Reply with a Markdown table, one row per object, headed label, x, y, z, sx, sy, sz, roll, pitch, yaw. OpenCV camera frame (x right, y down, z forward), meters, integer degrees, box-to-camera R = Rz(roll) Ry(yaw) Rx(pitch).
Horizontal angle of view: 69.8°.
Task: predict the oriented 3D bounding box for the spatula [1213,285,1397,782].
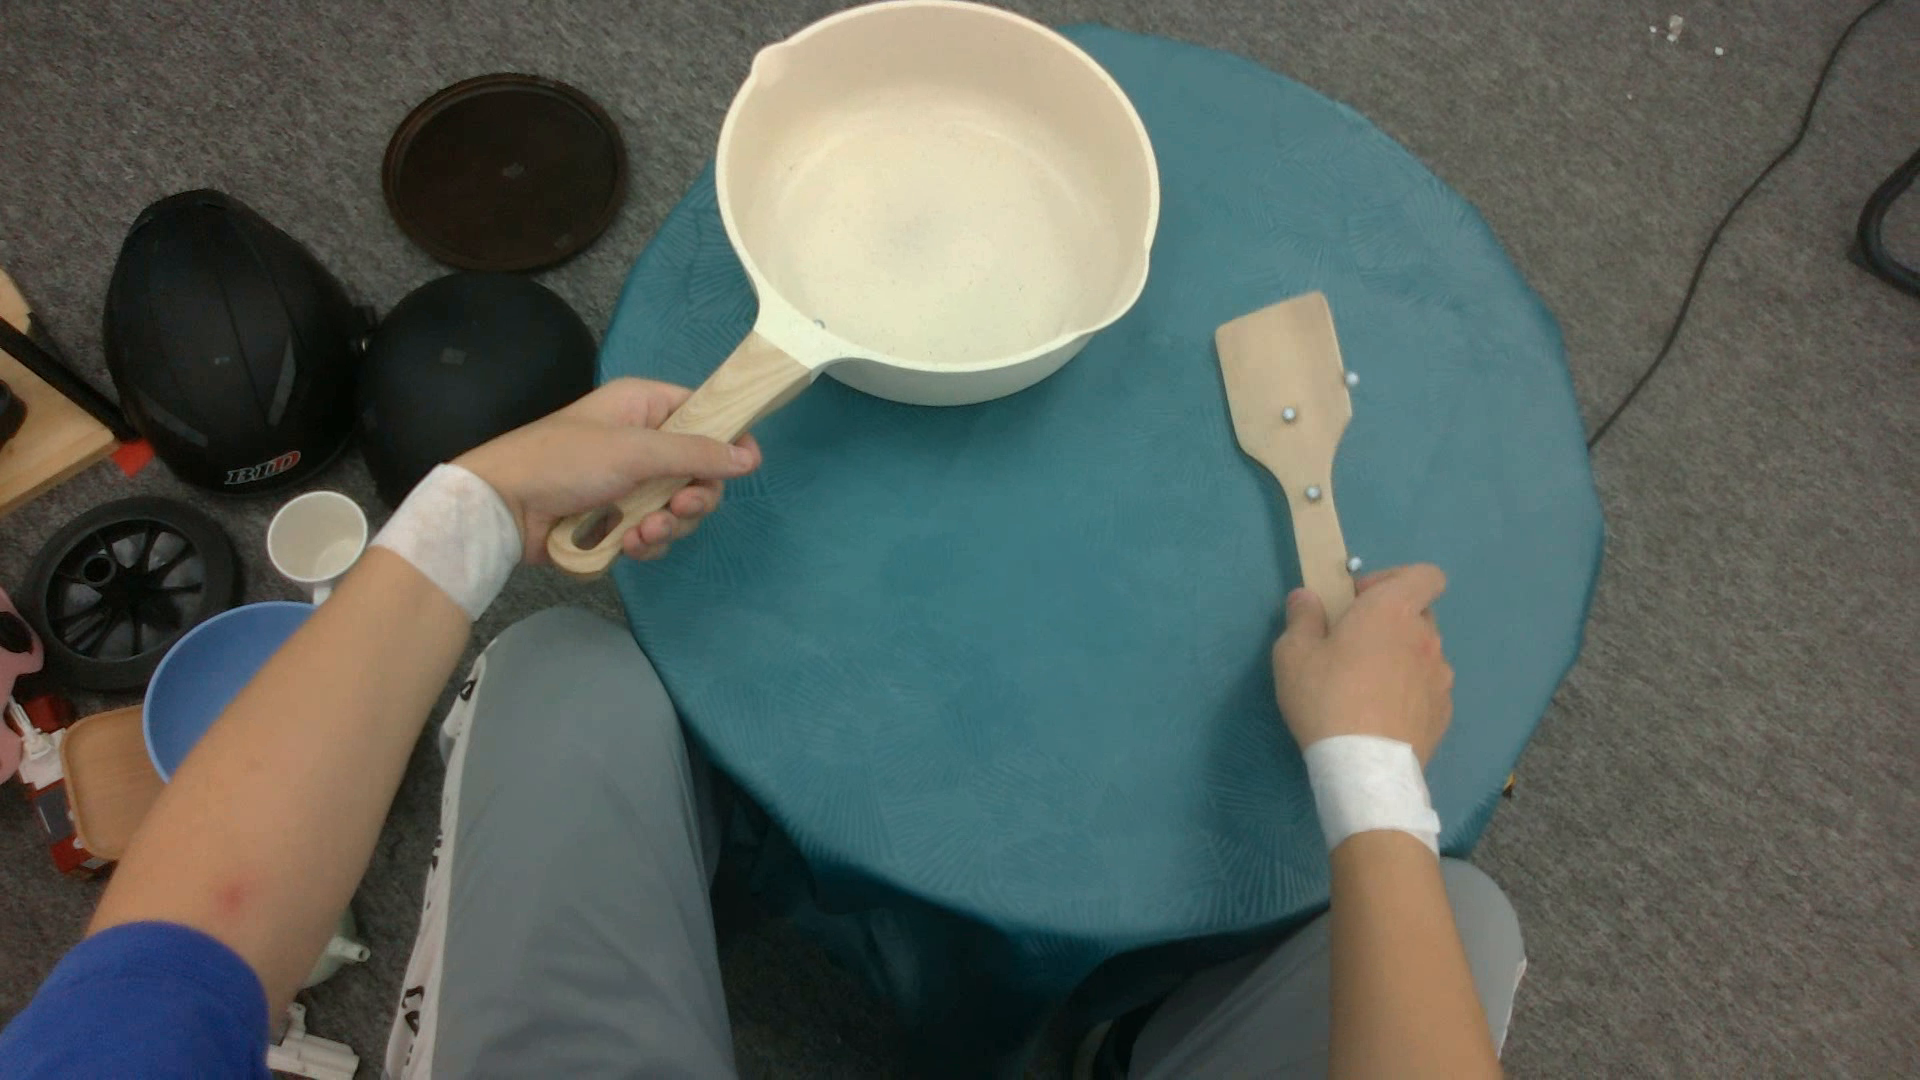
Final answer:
| label | x | y | z | sx | sy | sz | roll | pitch | yaw |
| --- | --- | --- | --- | --- | --- | --- | --- | --- | --- |
| spatula | 0.203 | -0.007 | 0.787 | 0.010 | 0.072 | 0.294 | 10 | 62 | -41 |

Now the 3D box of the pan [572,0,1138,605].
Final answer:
| label | x | y | z | sx | sy | sz | roll | pitch | yaw |
| --- | --- | --- | --- | --- | --- | --- | --- | --- | --- |
| pan | -0.073 | -0.128 | 0.791 | 0.263 | 0.101 | 0.436 | 33 | 70 | 6 |
